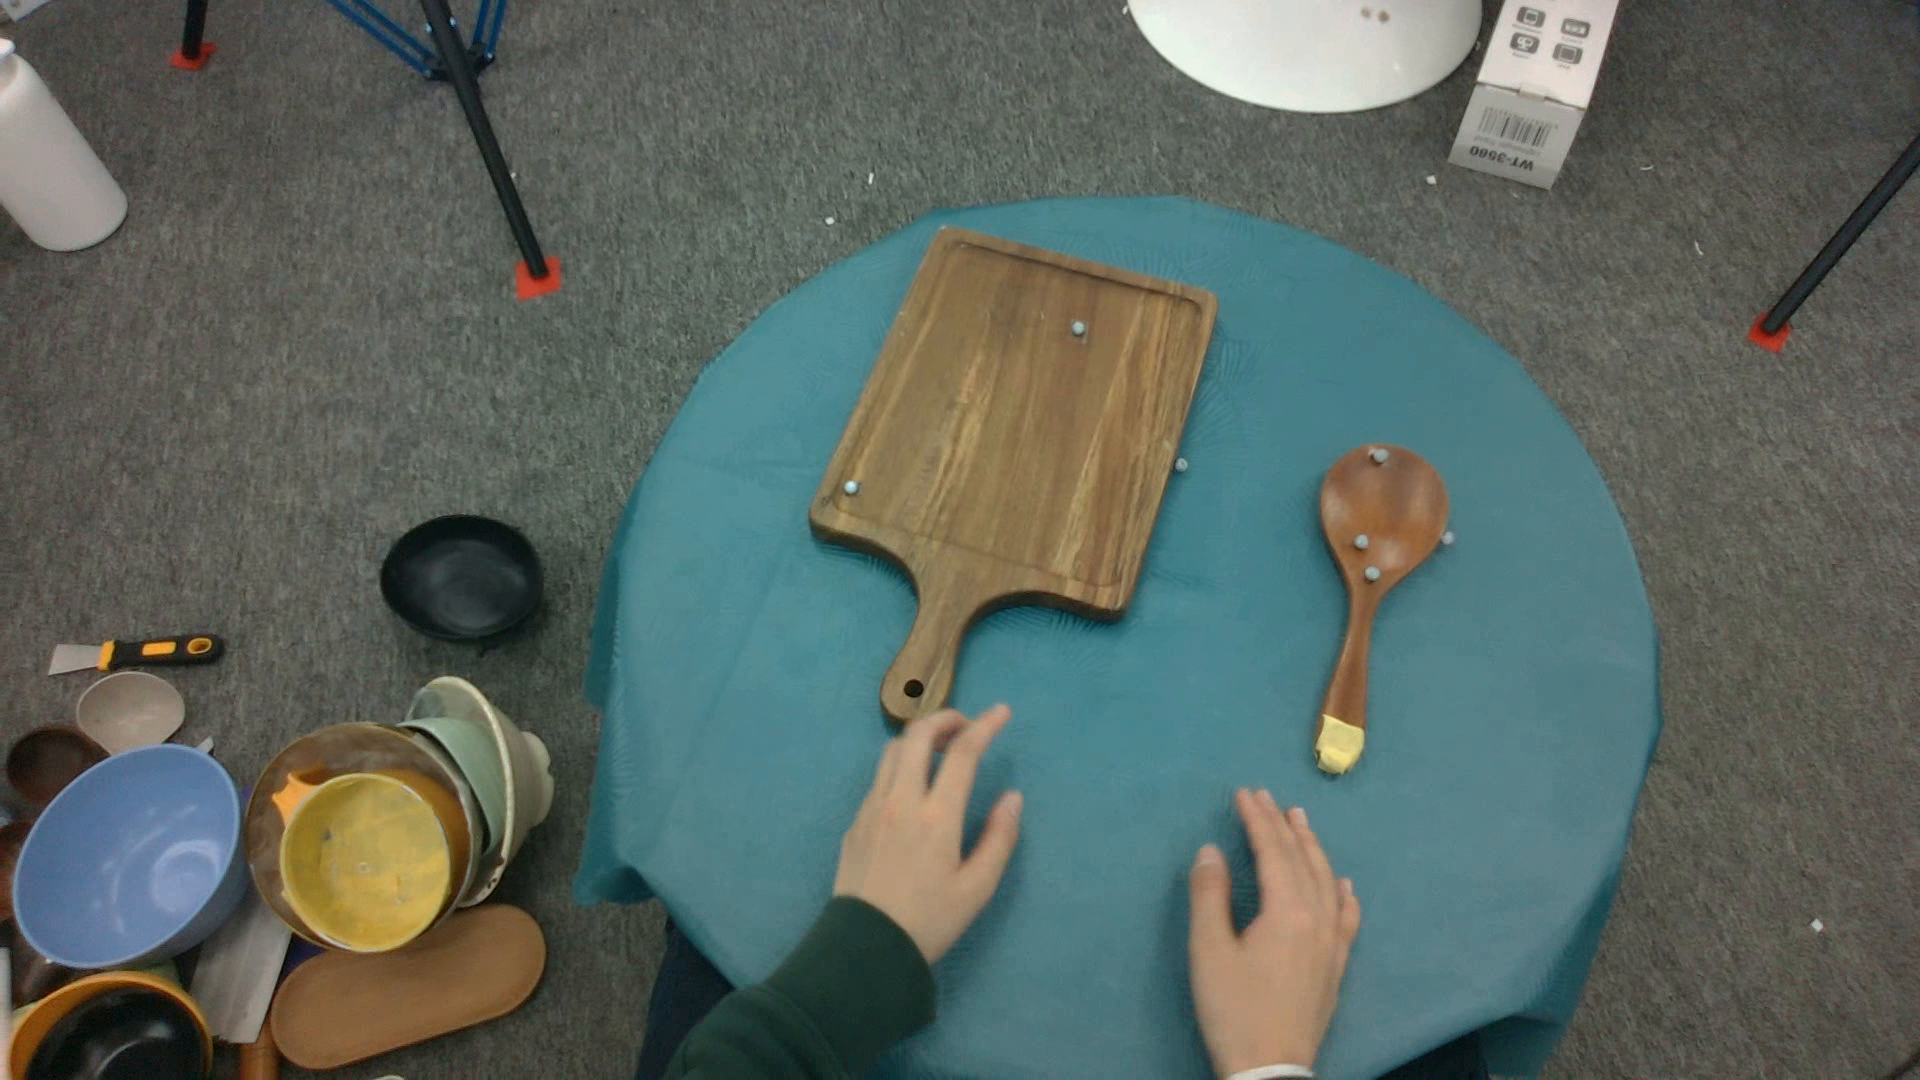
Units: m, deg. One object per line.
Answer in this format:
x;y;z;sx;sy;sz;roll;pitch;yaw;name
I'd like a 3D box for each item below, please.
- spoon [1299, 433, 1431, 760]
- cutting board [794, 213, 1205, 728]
0.224;0.028;0.789;0.075;0.017;0.217;16;60;6;spoon
0.016;-0.048;0.829;0.201;0.023;0.354;17;61;7;cutting board
